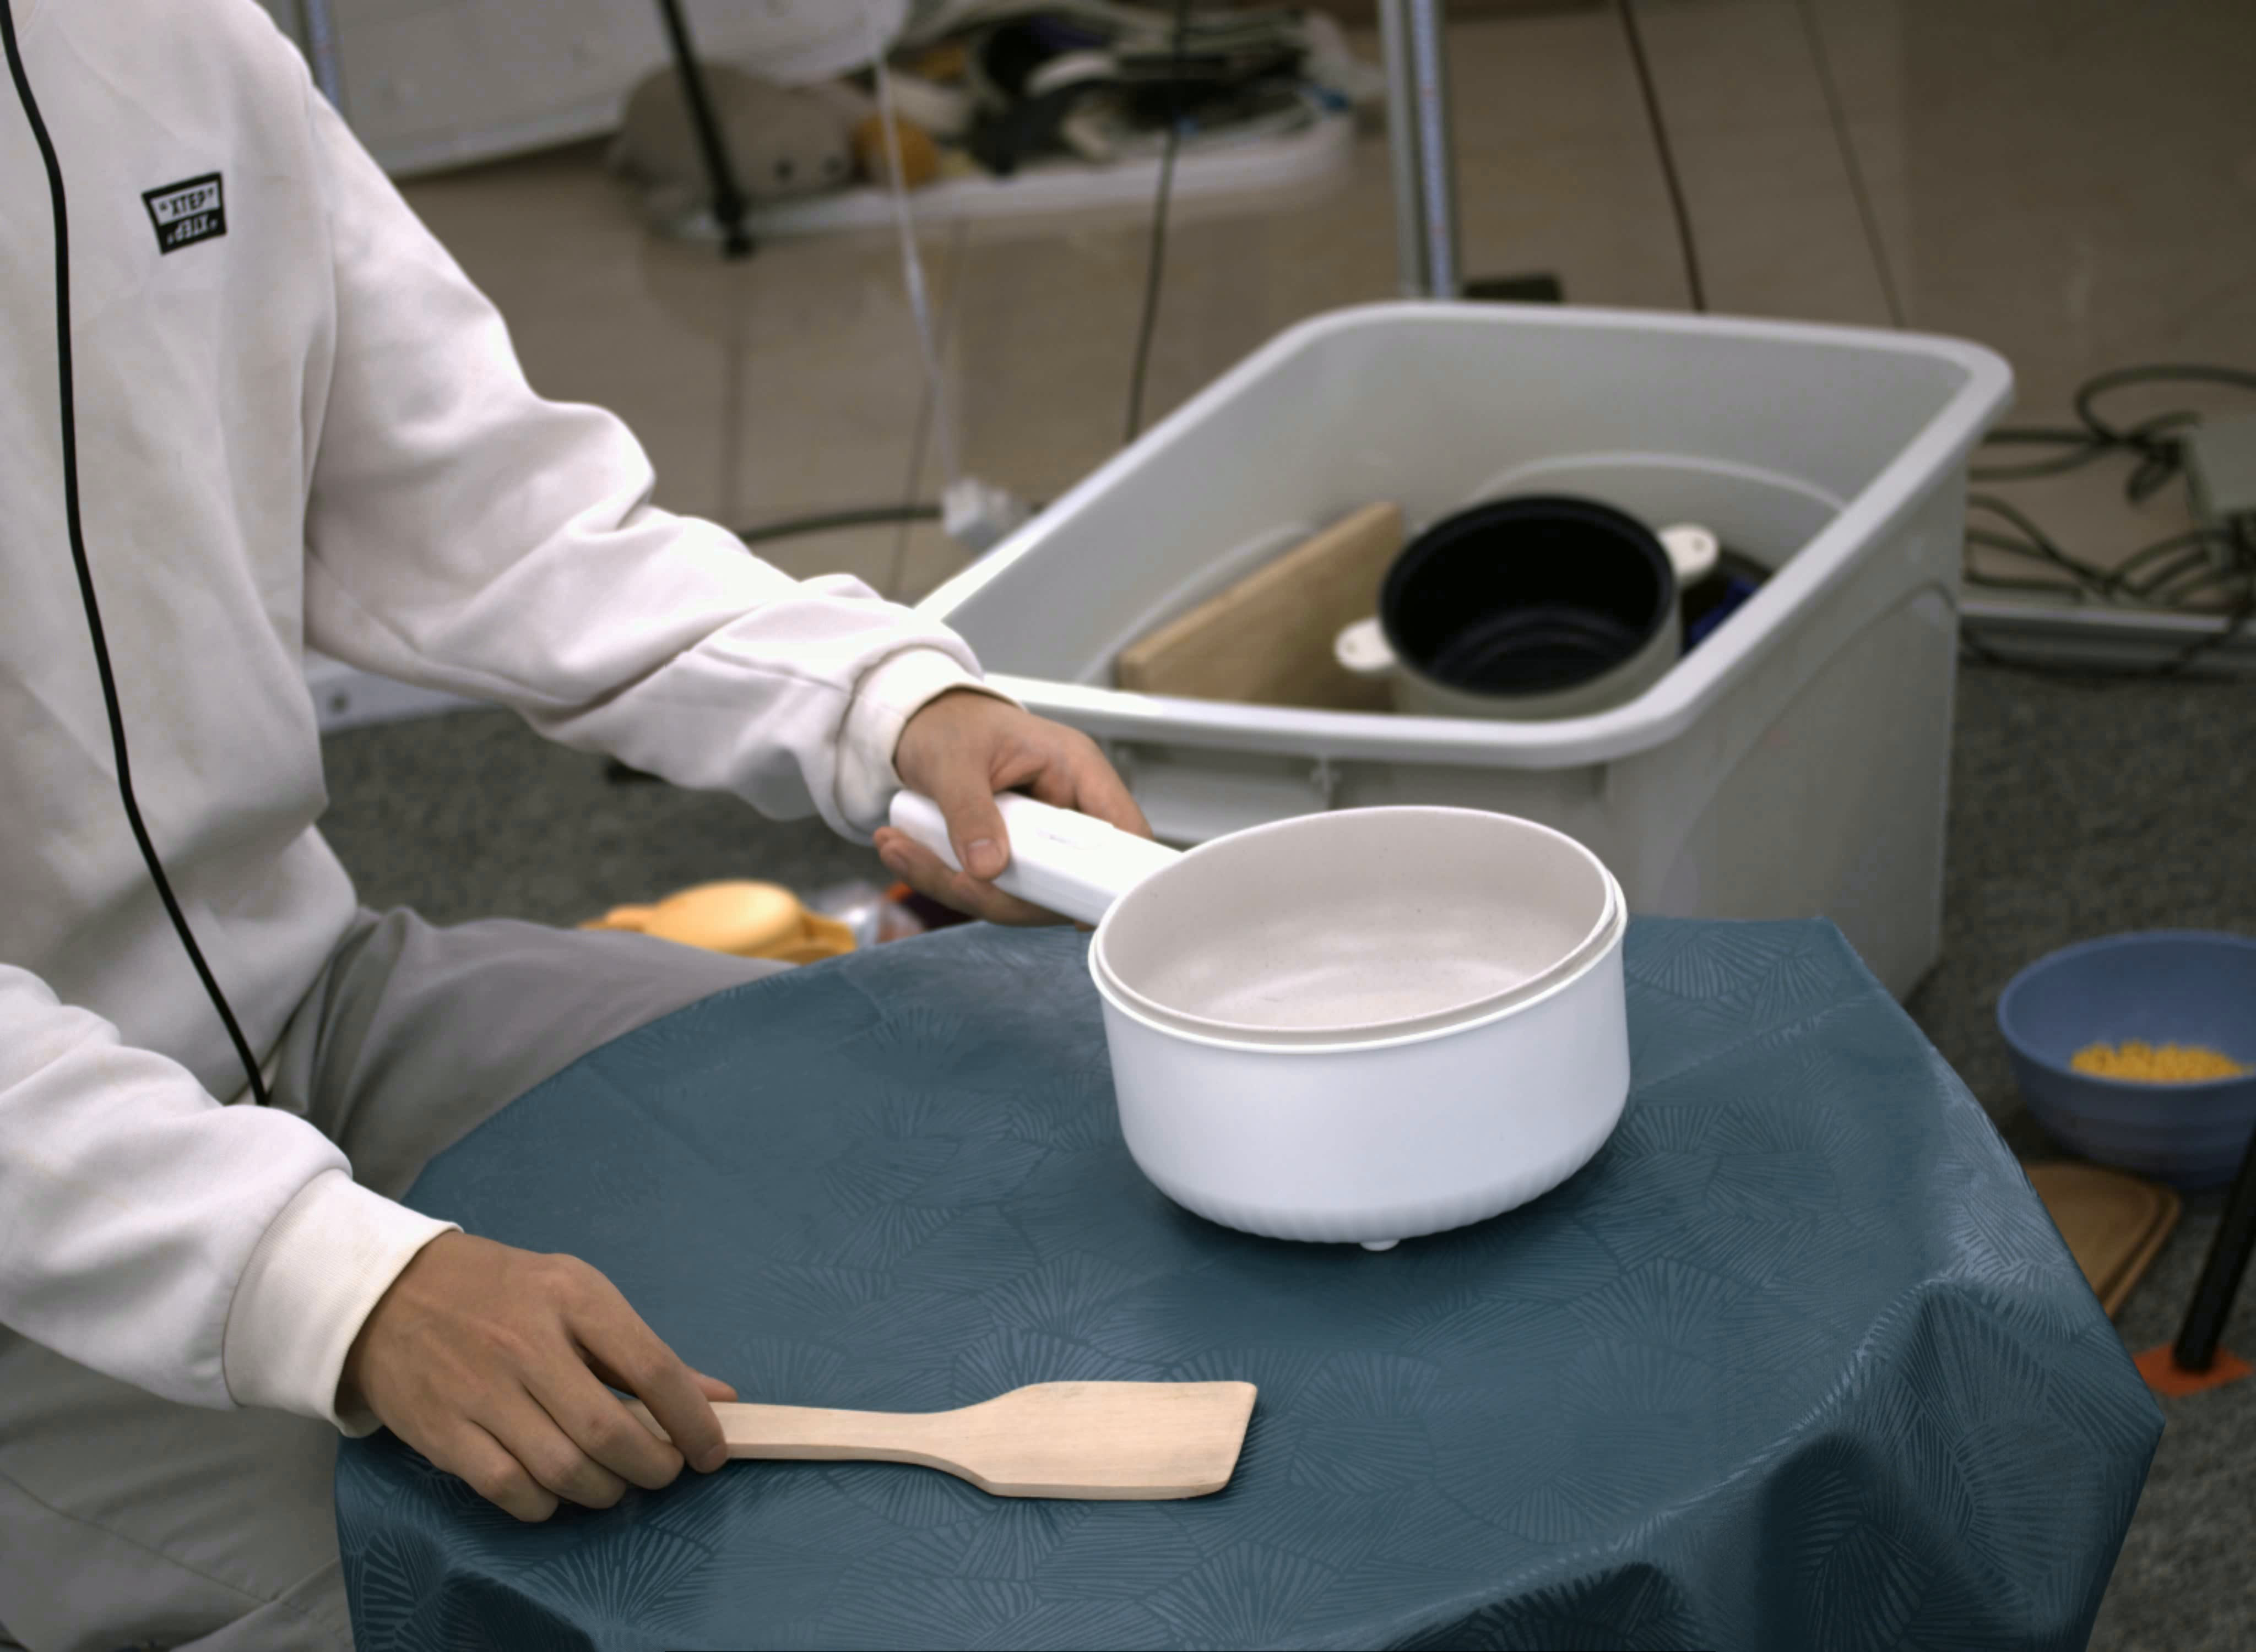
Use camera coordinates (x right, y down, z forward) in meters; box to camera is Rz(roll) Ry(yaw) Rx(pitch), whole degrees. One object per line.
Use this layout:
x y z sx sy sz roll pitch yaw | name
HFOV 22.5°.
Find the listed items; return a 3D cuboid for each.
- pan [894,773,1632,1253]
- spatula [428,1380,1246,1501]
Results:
0.039 0.063 2.186 0.199 0.103 0.352 -27 30 -35 | pan
-0.106 0.213 1.998 0.292 0.011 0.071 0 26 11 | spatula
